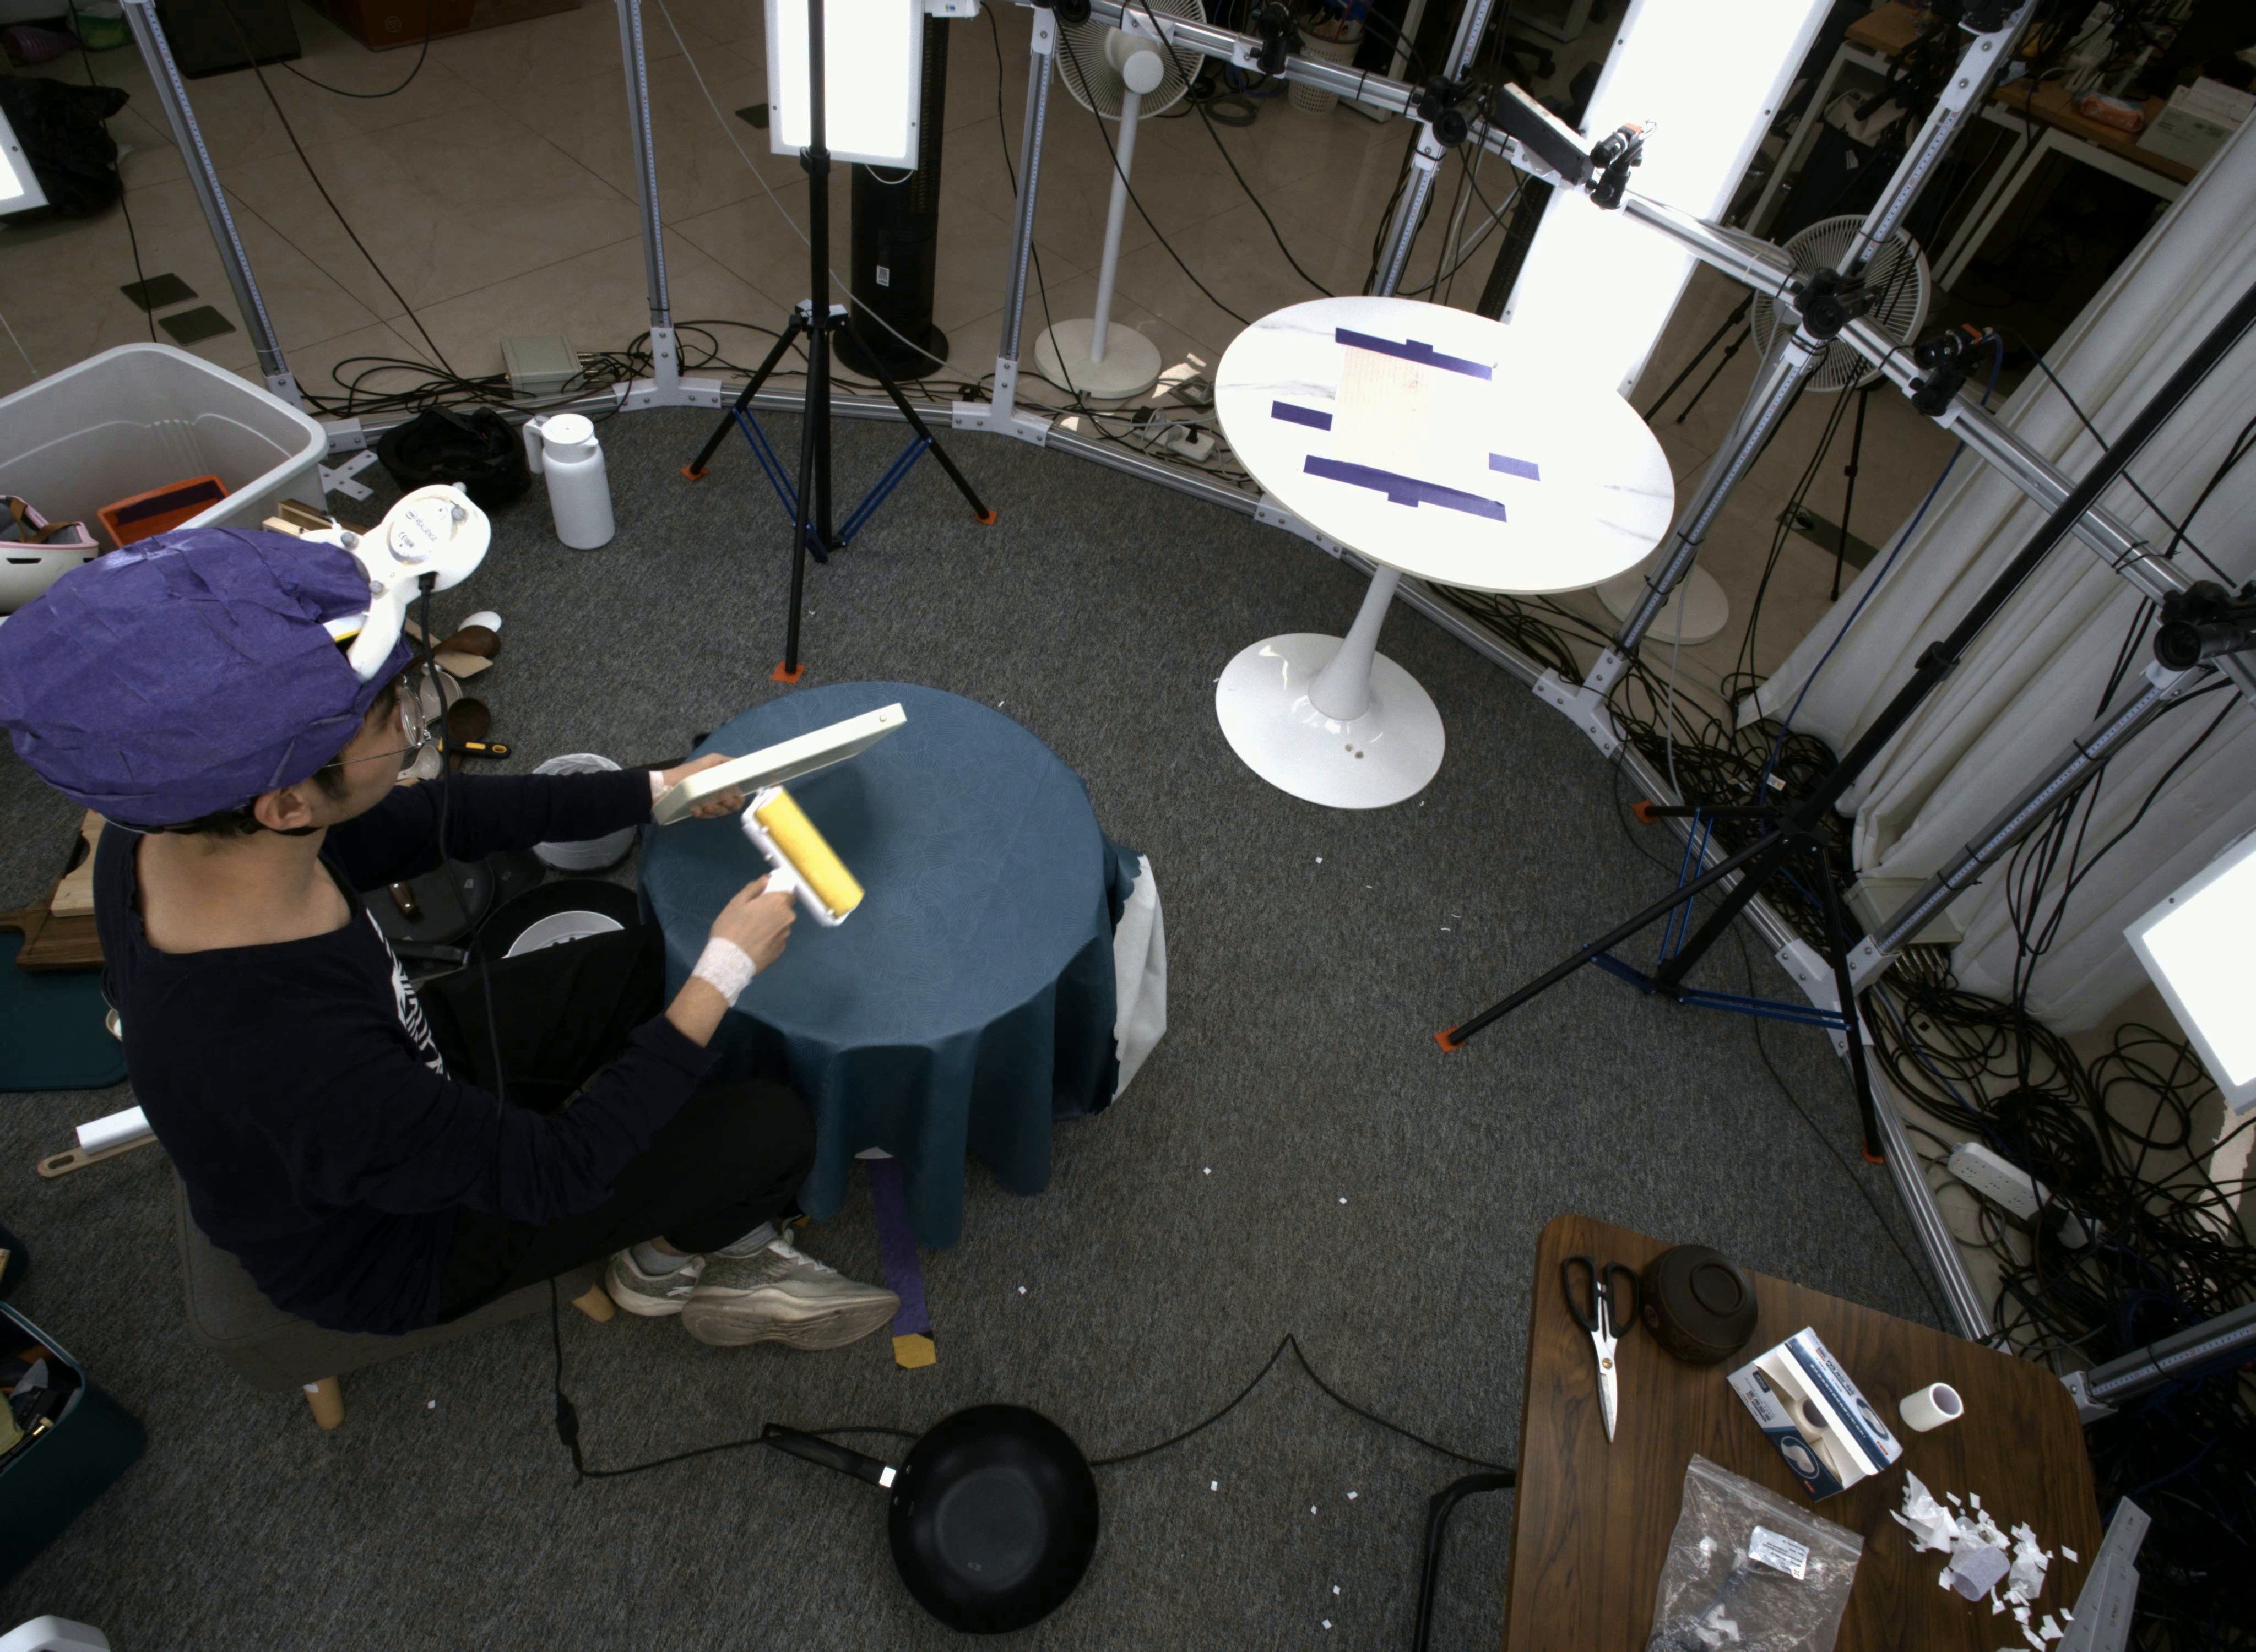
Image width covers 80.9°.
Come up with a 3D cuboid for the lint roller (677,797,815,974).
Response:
[{"bbox_3d":[-0.440,0.085,1.425,0.180,0.050,0.189,54,27,-28],"label":"lint roller"}]

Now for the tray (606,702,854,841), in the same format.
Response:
[{"bbox_3d":[-0.500,-0.070,1.617,0.302,0.188,0.028,-28,92,-36],"label":"tray"}]
